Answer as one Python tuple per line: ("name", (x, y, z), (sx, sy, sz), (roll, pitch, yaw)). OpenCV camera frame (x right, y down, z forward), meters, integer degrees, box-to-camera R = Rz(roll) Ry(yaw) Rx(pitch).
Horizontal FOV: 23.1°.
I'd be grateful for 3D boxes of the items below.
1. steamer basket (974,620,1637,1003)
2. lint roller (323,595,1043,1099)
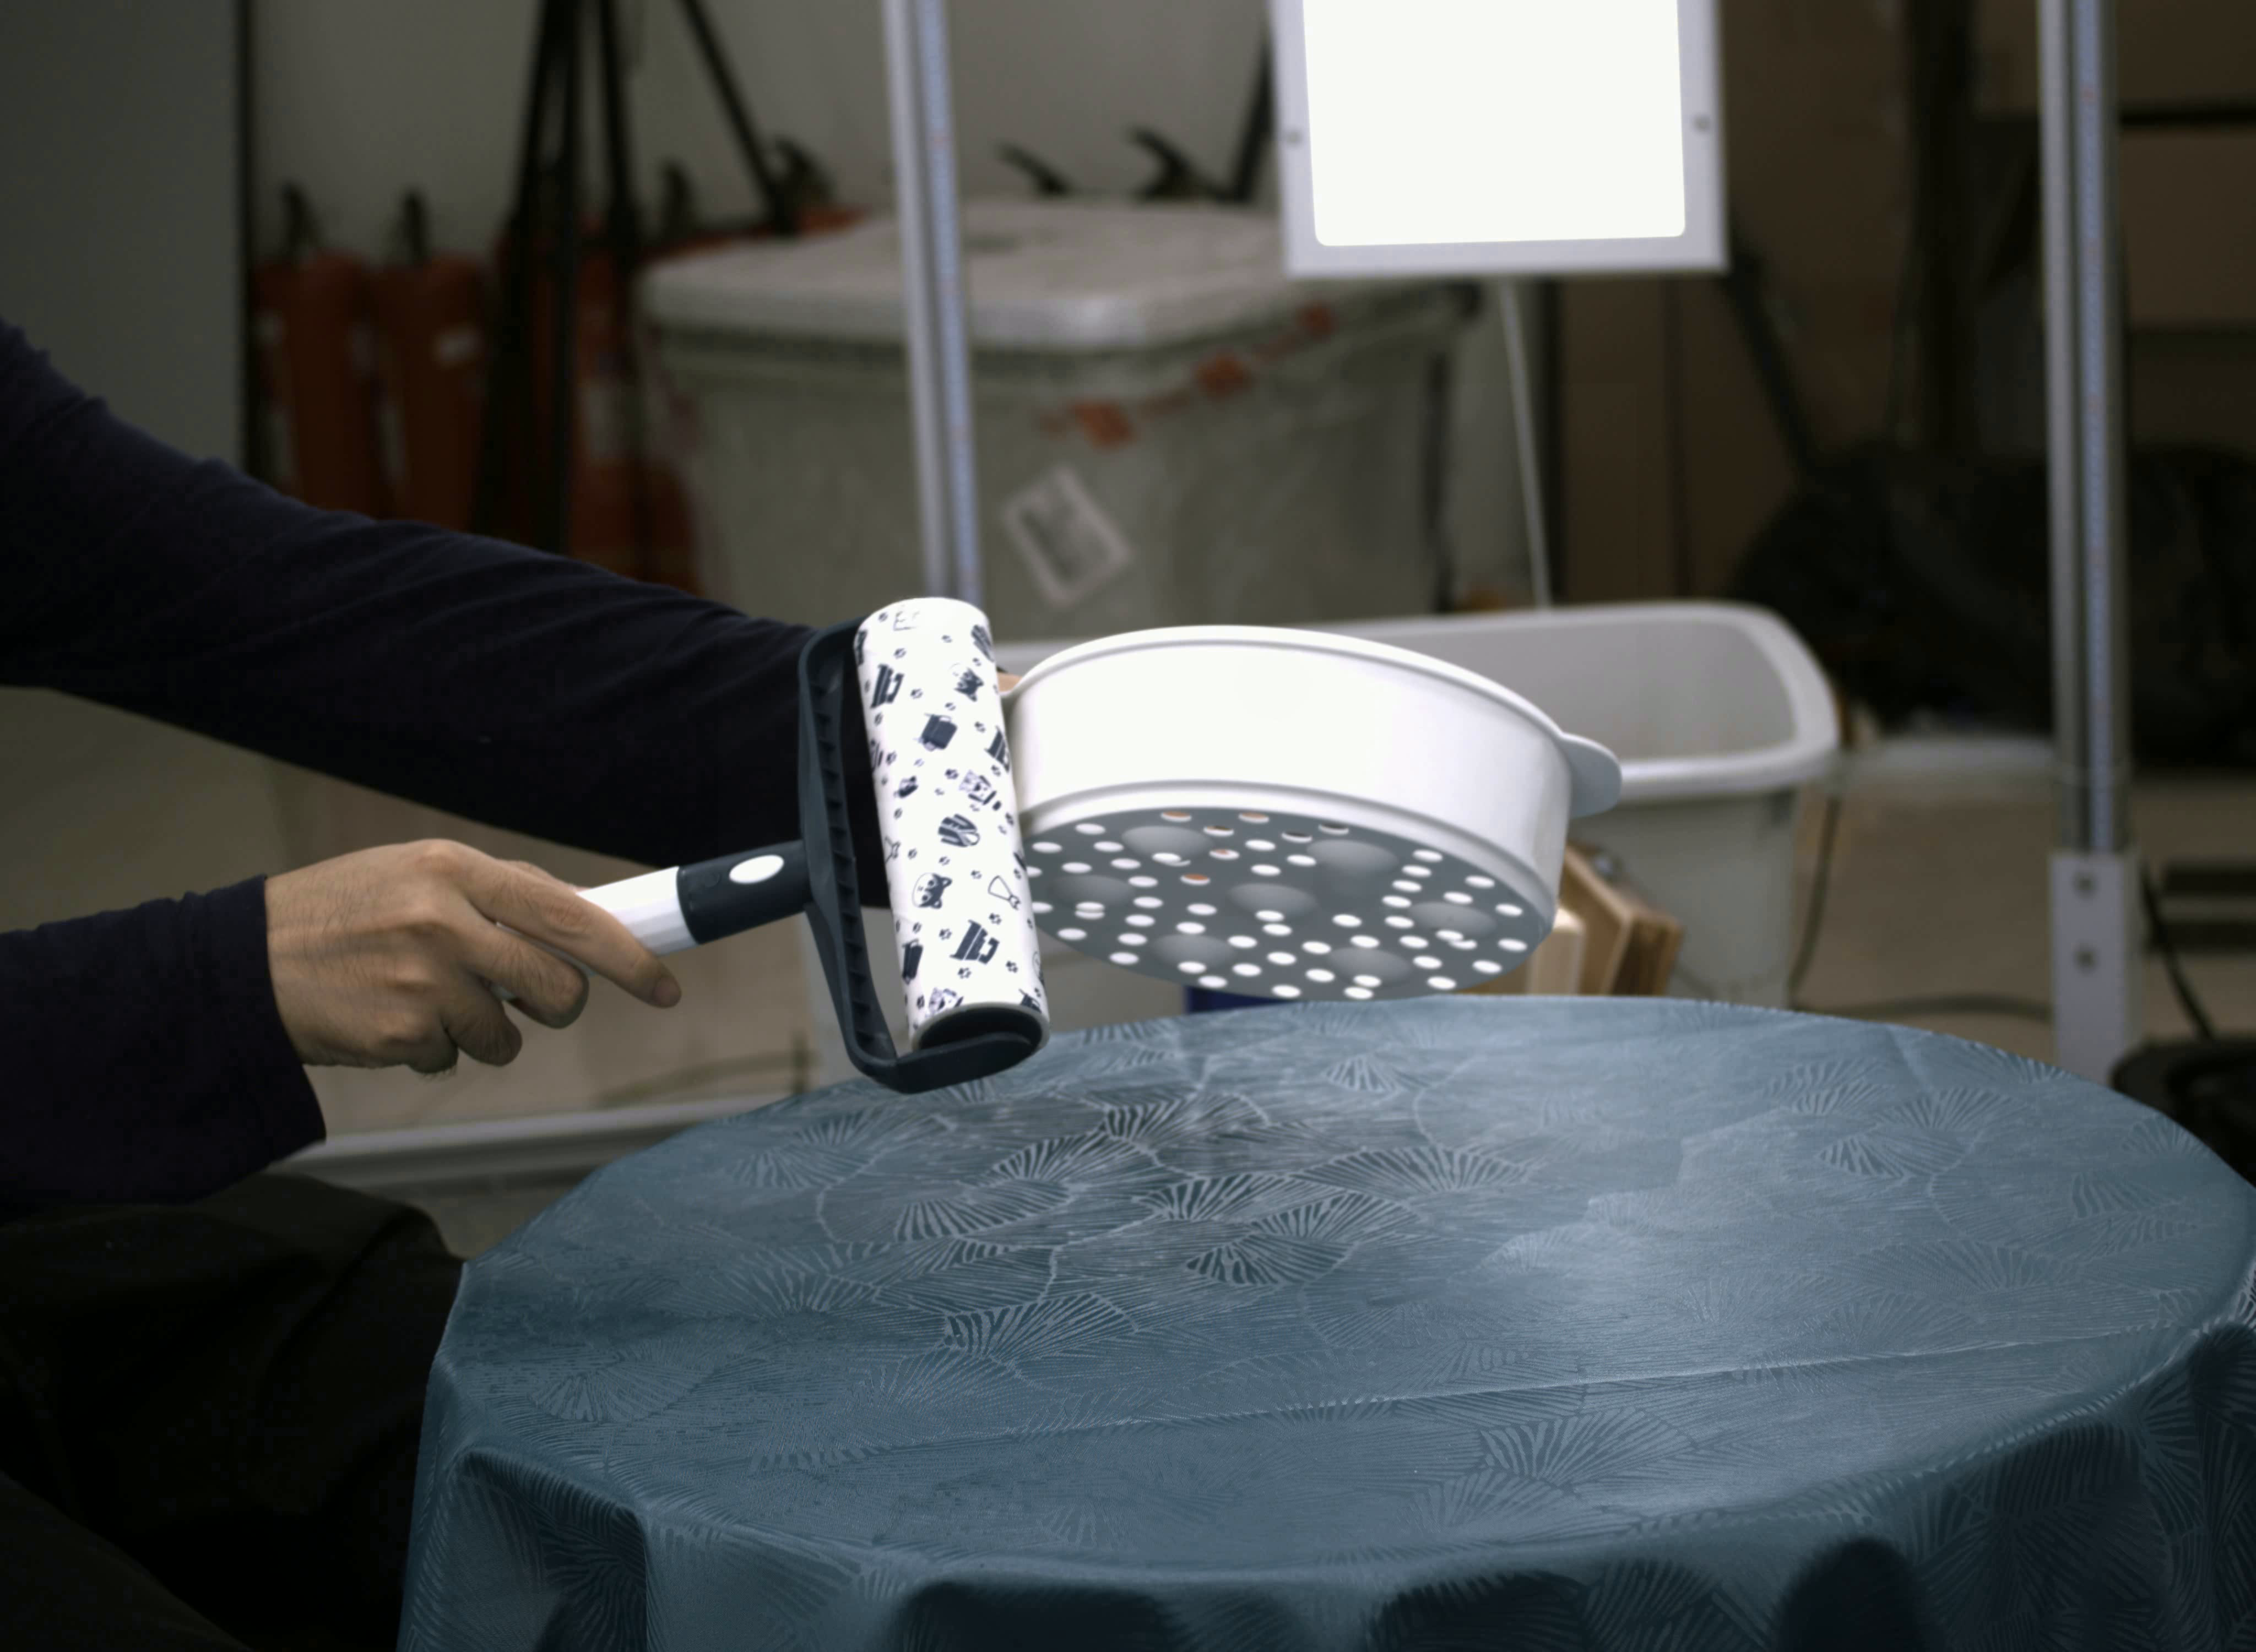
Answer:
("steamer basket", (0.057, 0.001, 1.872), (0.232, 0.069, 0.201), (3, -22, 9))
("lint roller", (-0.157, 0.031, 1.846), (0.248, 0.176, 0.050), (-16, -31, 10))
